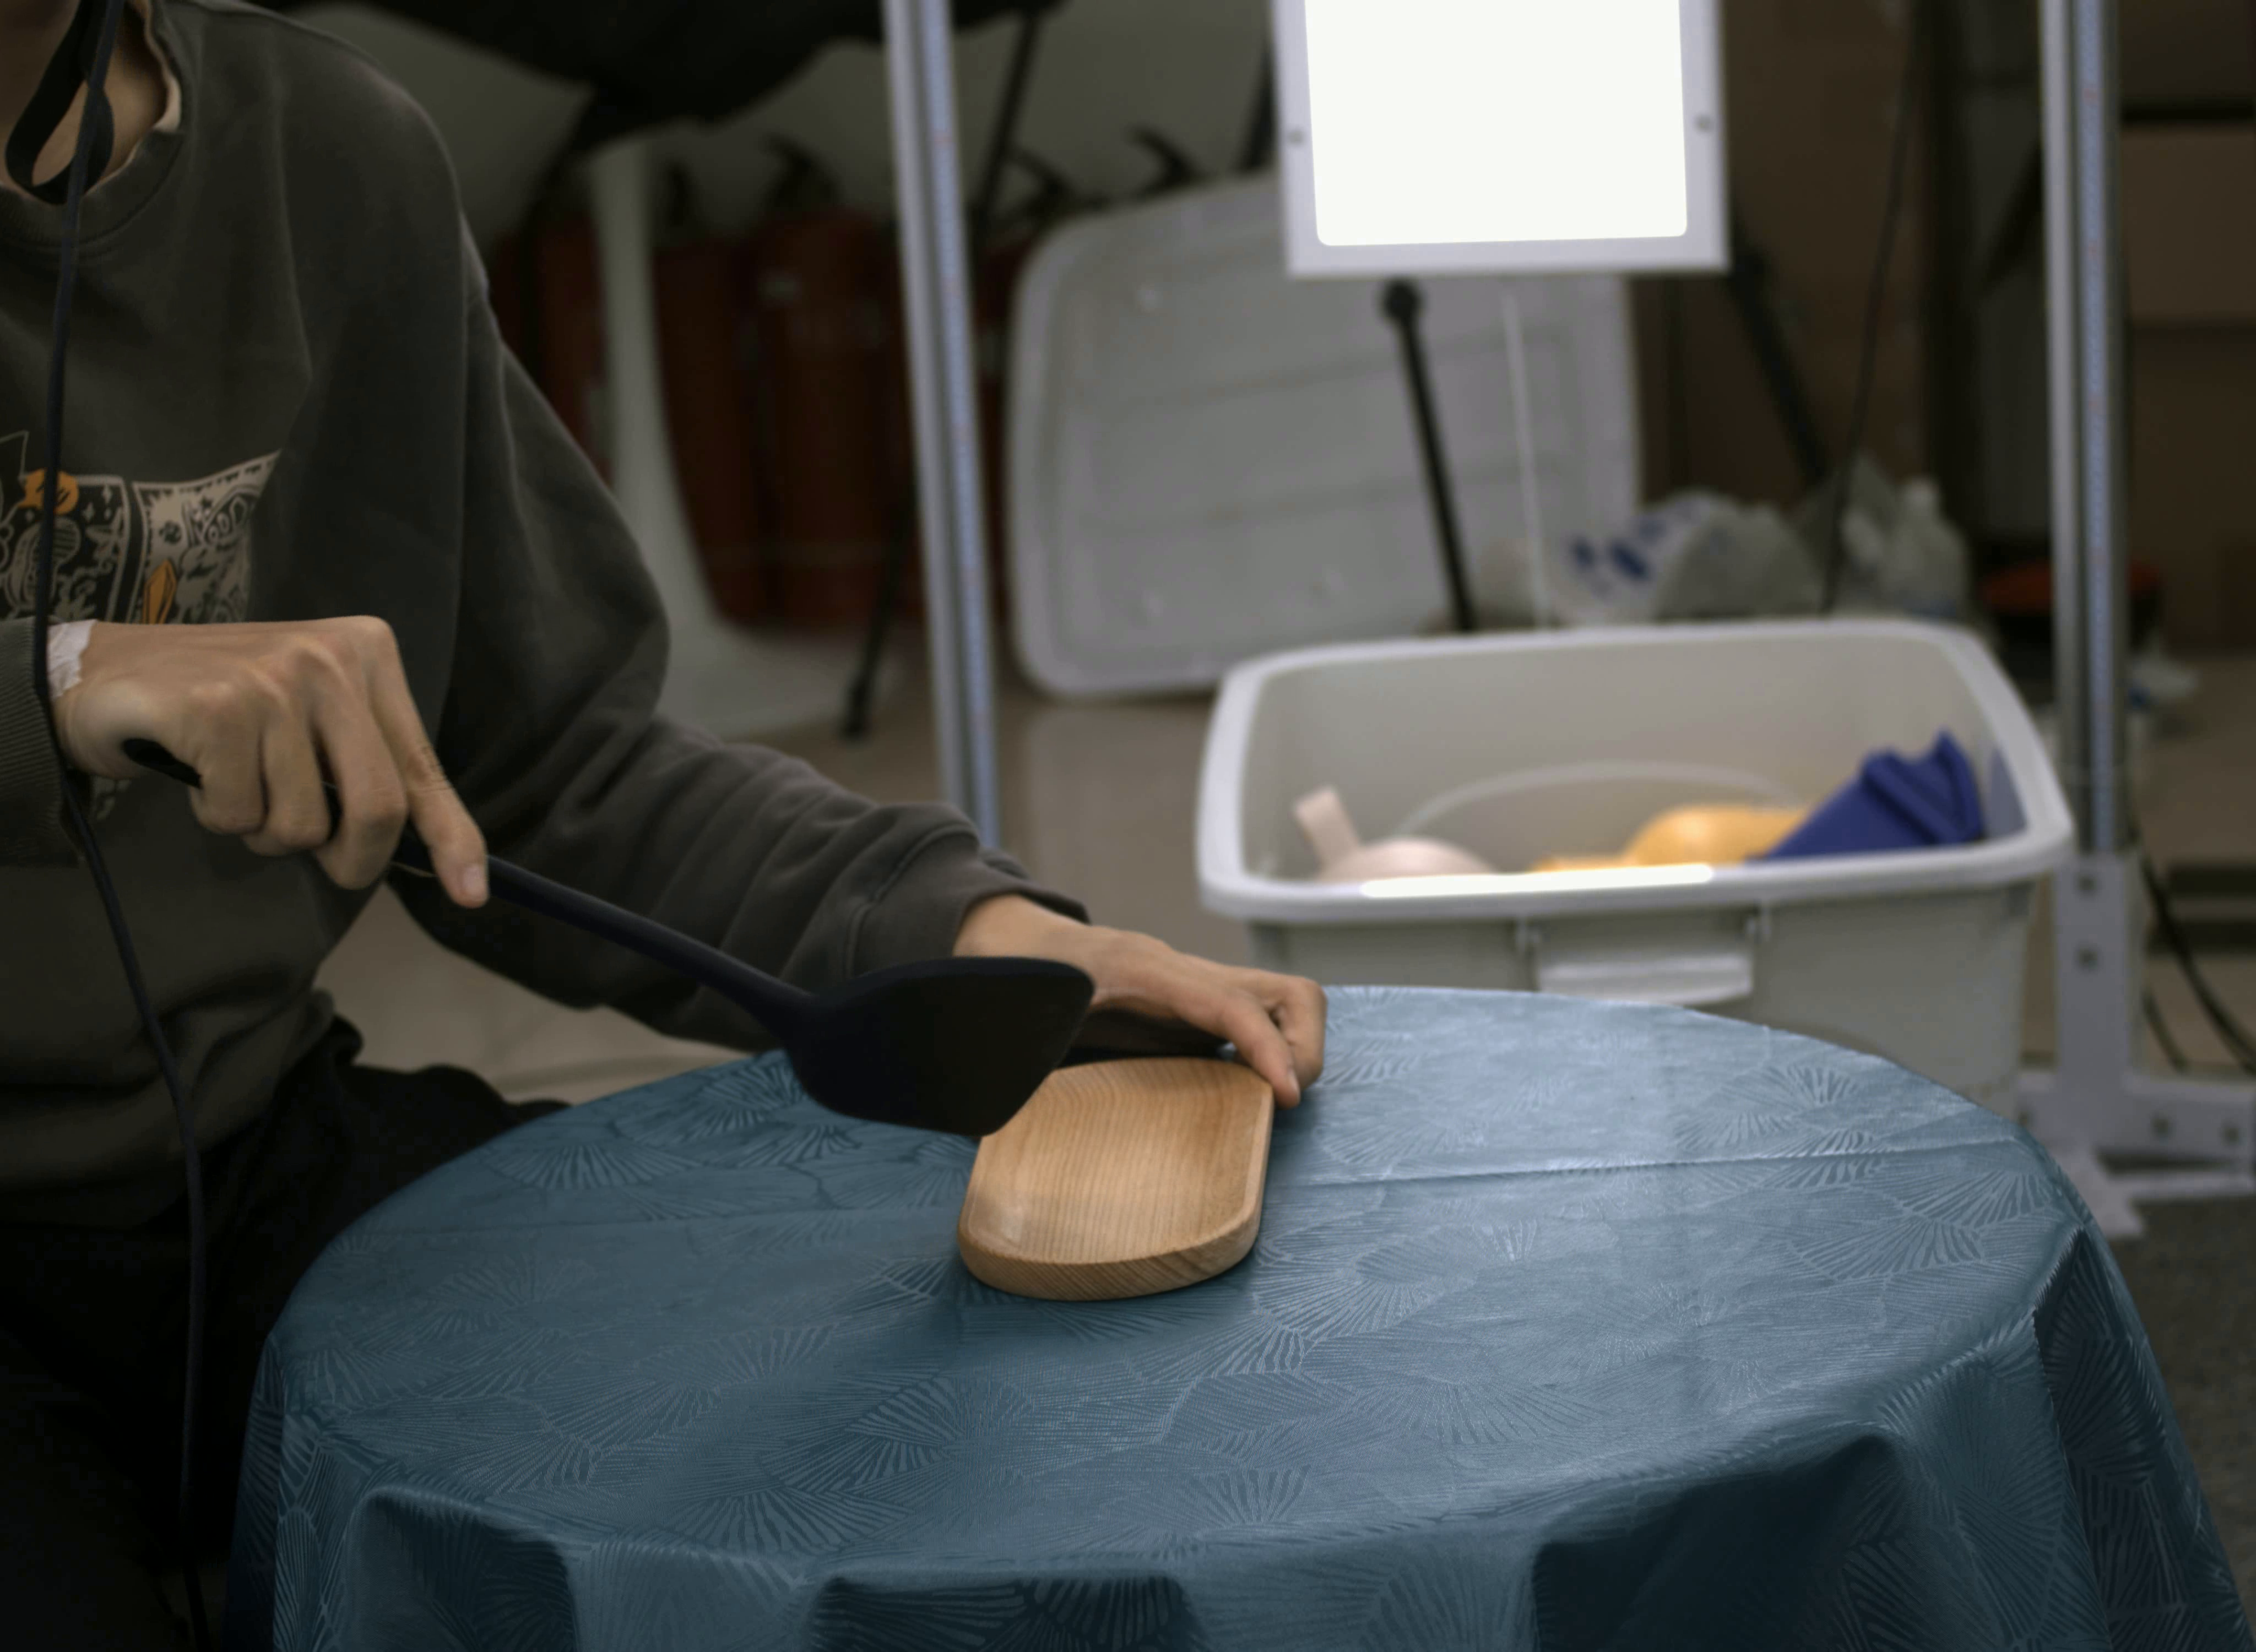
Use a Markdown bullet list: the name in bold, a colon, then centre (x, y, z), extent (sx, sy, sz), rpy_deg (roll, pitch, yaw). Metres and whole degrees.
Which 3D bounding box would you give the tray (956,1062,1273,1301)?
- **tray**: centre (-0.002, 0.120, 1.890), extent (0.102, 0.020, 0.230), rpy_deg (-5, 15, 5)

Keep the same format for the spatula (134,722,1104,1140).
- **spatula**: centre (-0.169, 0.025, 1.803), extent (0.324, 0.101, 0.040), rpy_deg (24, 43, -7)
